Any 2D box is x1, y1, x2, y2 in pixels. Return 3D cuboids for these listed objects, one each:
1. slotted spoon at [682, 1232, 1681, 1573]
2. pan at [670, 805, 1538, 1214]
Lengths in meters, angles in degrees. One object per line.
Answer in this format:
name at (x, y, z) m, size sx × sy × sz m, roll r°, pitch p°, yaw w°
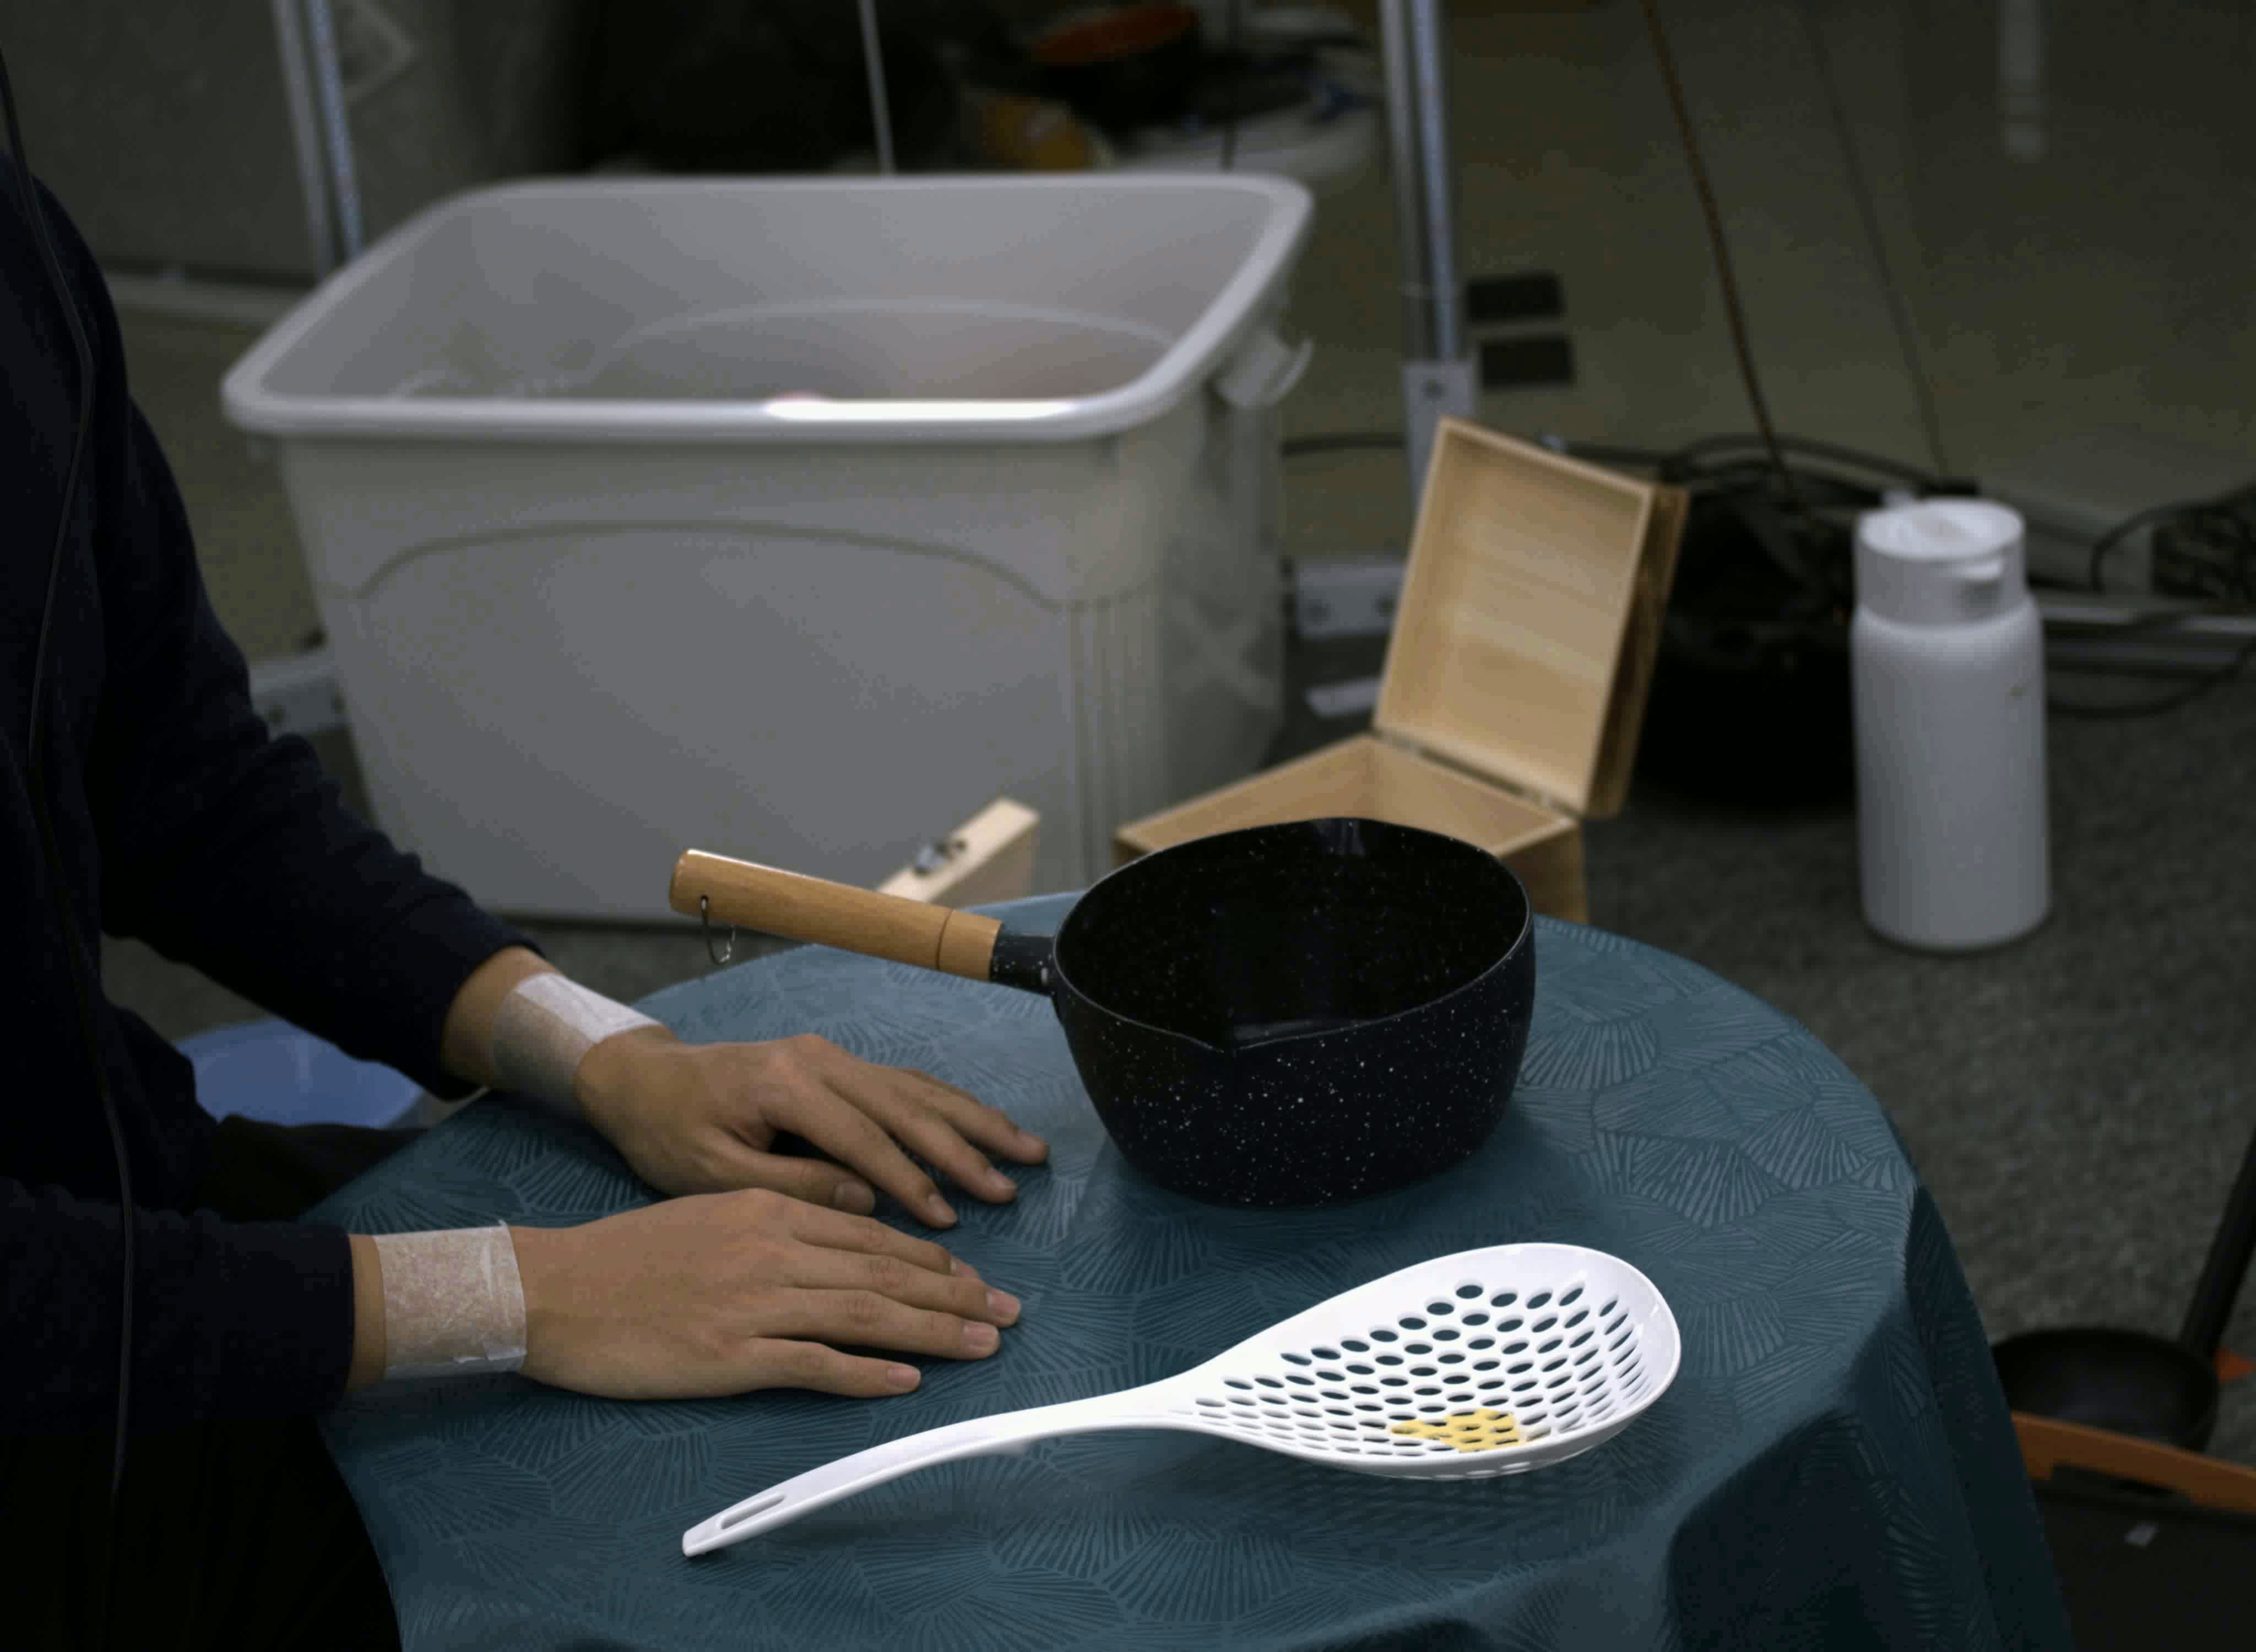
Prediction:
slotted spoon at (0.017, 0.207, 1.945) m, size 0.347 × 0.051 × 0.135 m, roll -7°, pitch 27°, yaw -4°
pan at (-0.011, 0.064, 2.182) m, size 0.342 × 0.110 × 0.204 m, roll 2°, pitch 28°, yaw 14°
